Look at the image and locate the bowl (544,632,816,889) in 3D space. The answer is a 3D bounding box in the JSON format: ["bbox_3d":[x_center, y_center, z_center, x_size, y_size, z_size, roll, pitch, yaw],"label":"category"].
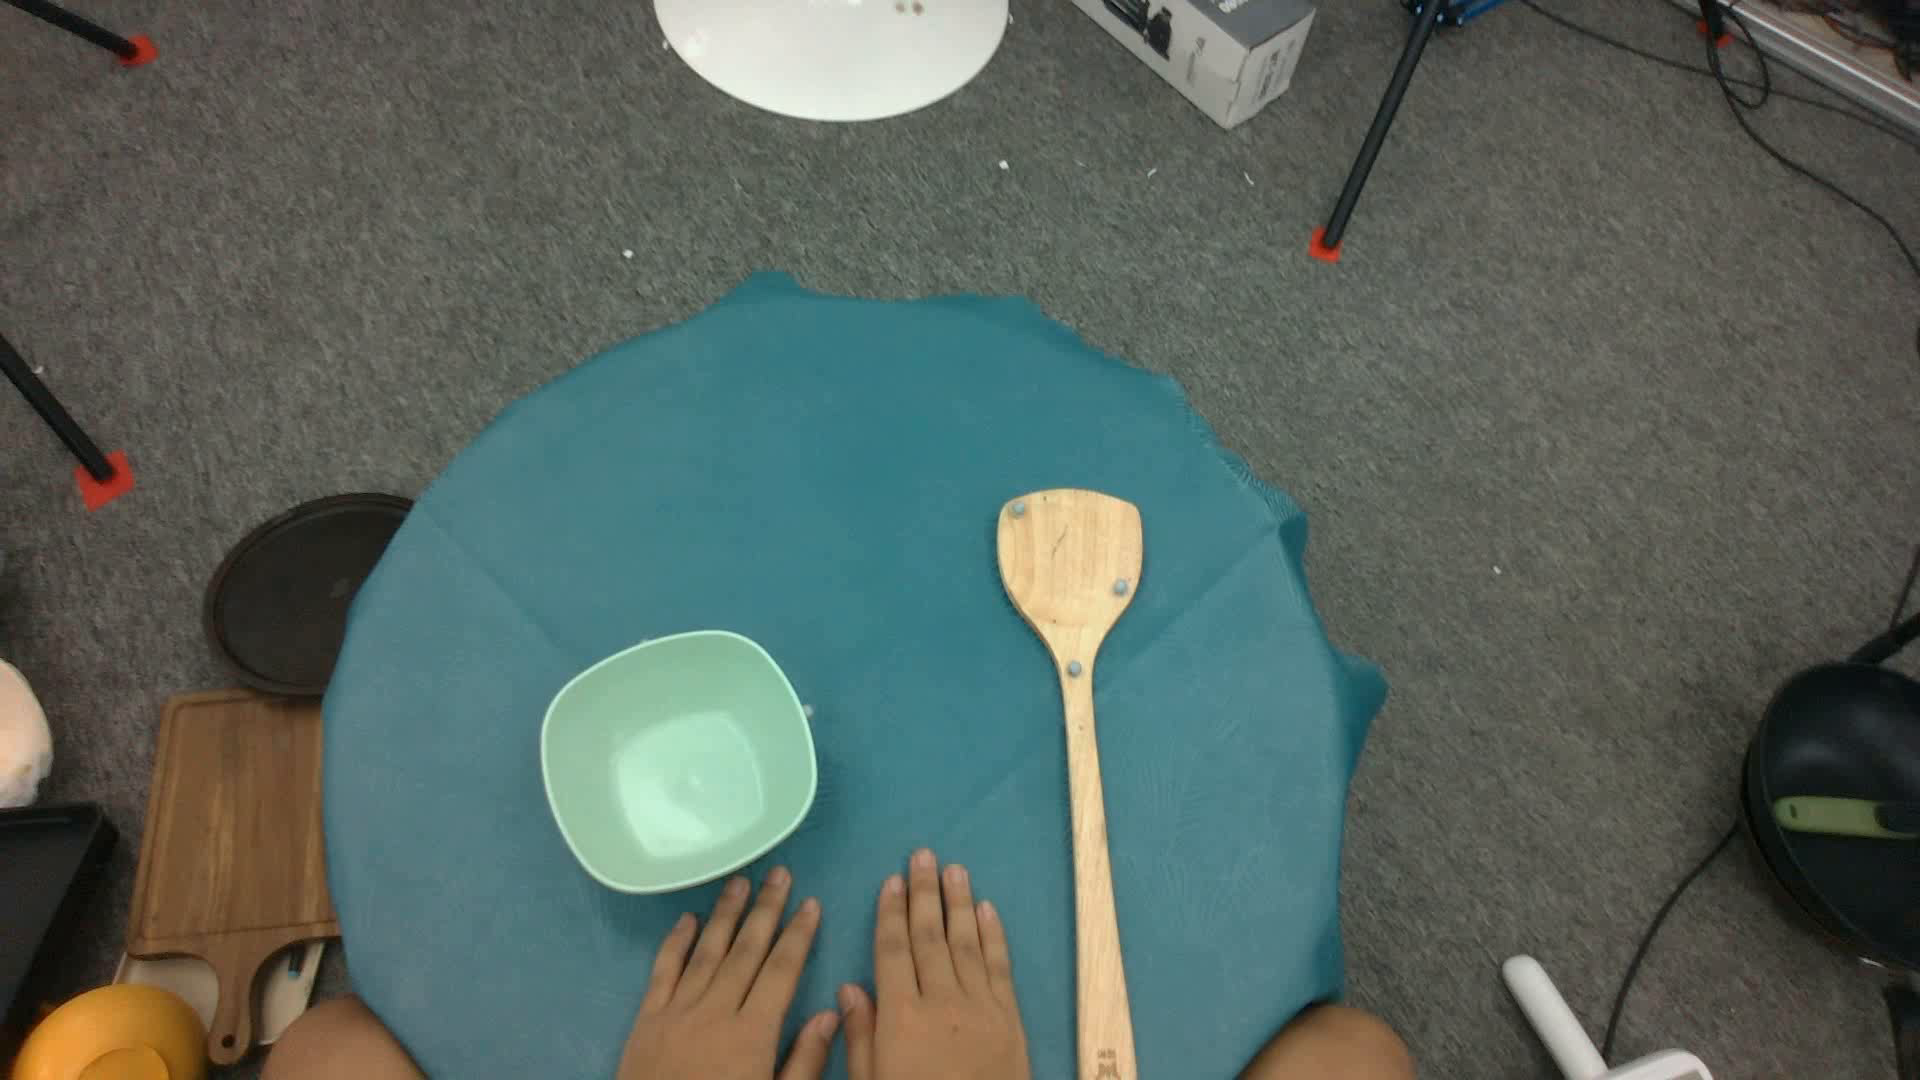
[{"bbox_3d":[-0.152,0.128,0.762,0.151,0.058,0.152,2,58,-3],"label":"bowl"}]

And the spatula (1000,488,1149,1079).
[{"bbox_3d":[0.079,0.139,0.800,0.096,0.018,0.392,0,59,-4],"label":"spatula"}]
